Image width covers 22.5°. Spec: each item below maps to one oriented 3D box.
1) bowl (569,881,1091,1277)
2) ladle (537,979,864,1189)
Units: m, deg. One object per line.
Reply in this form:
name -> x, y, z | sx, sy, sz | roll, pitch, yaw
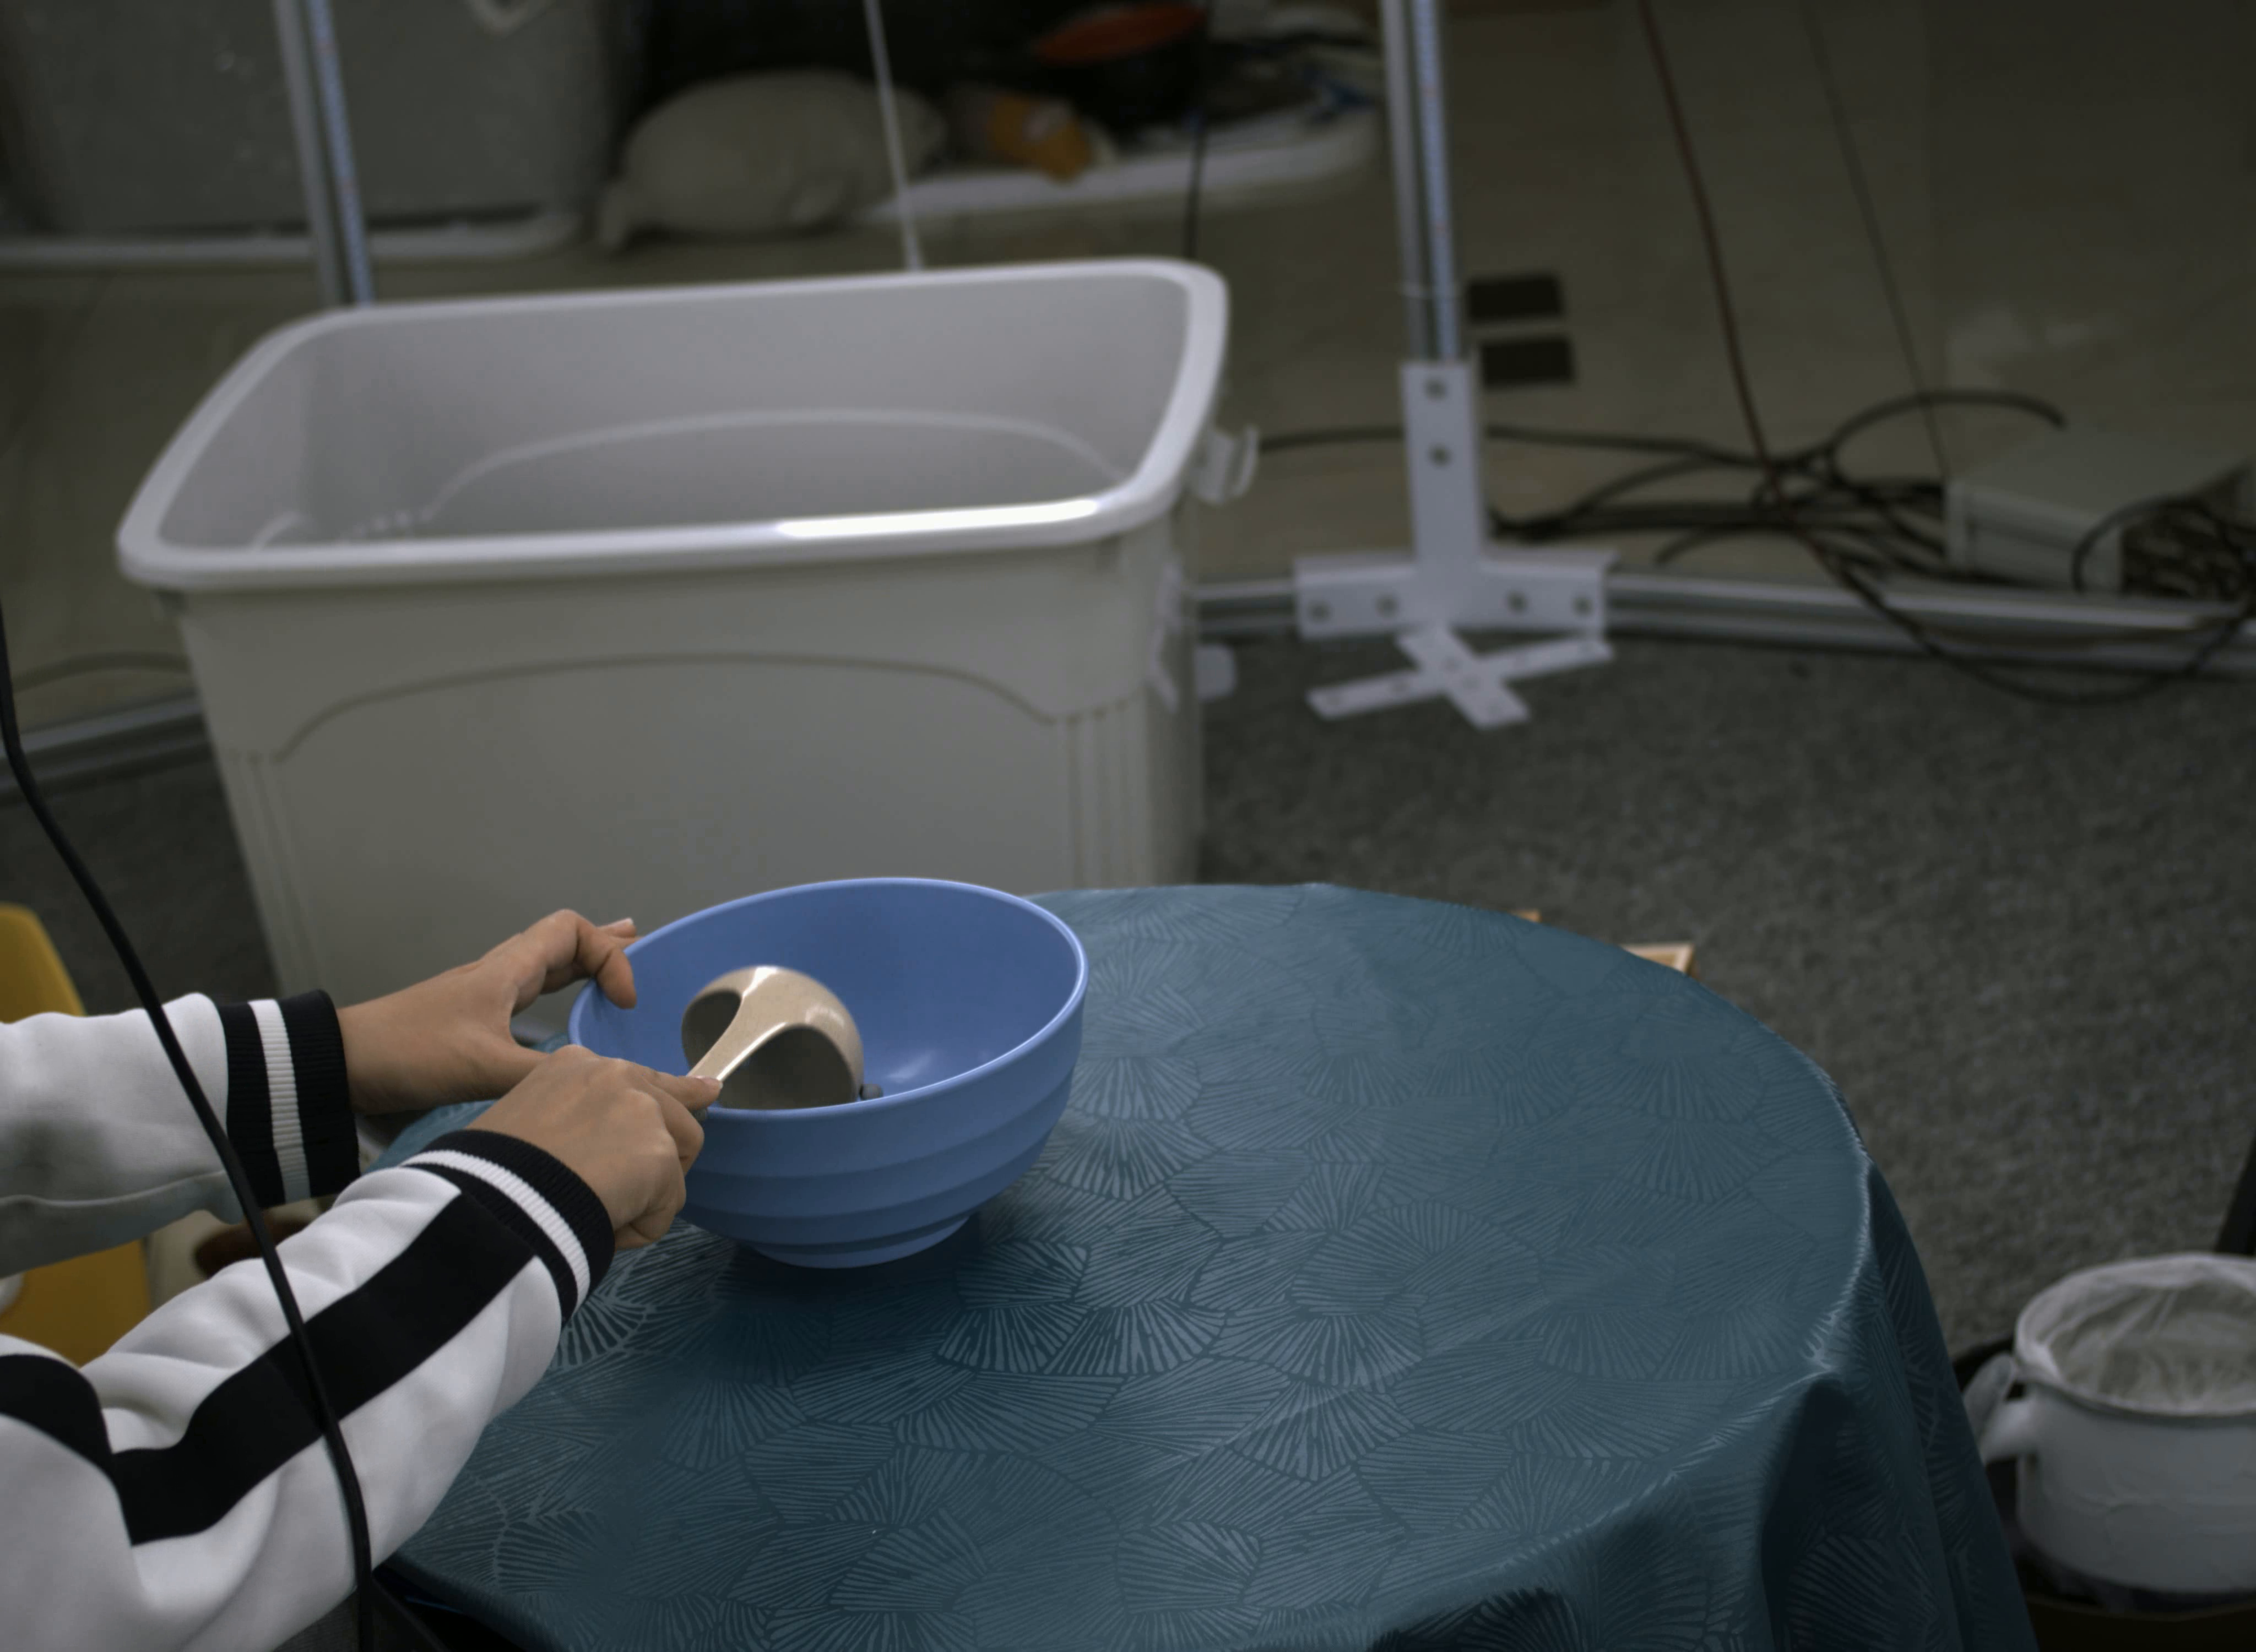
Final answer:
bowl -> -0.107, 0.107, 2.138 | 0.196, 0.097, 0.193 | -5, 27, 2
ladle -> -0.163, 0.116, 2.013 | 0.072, 0.074, 0.252 | 23, 21, 11
